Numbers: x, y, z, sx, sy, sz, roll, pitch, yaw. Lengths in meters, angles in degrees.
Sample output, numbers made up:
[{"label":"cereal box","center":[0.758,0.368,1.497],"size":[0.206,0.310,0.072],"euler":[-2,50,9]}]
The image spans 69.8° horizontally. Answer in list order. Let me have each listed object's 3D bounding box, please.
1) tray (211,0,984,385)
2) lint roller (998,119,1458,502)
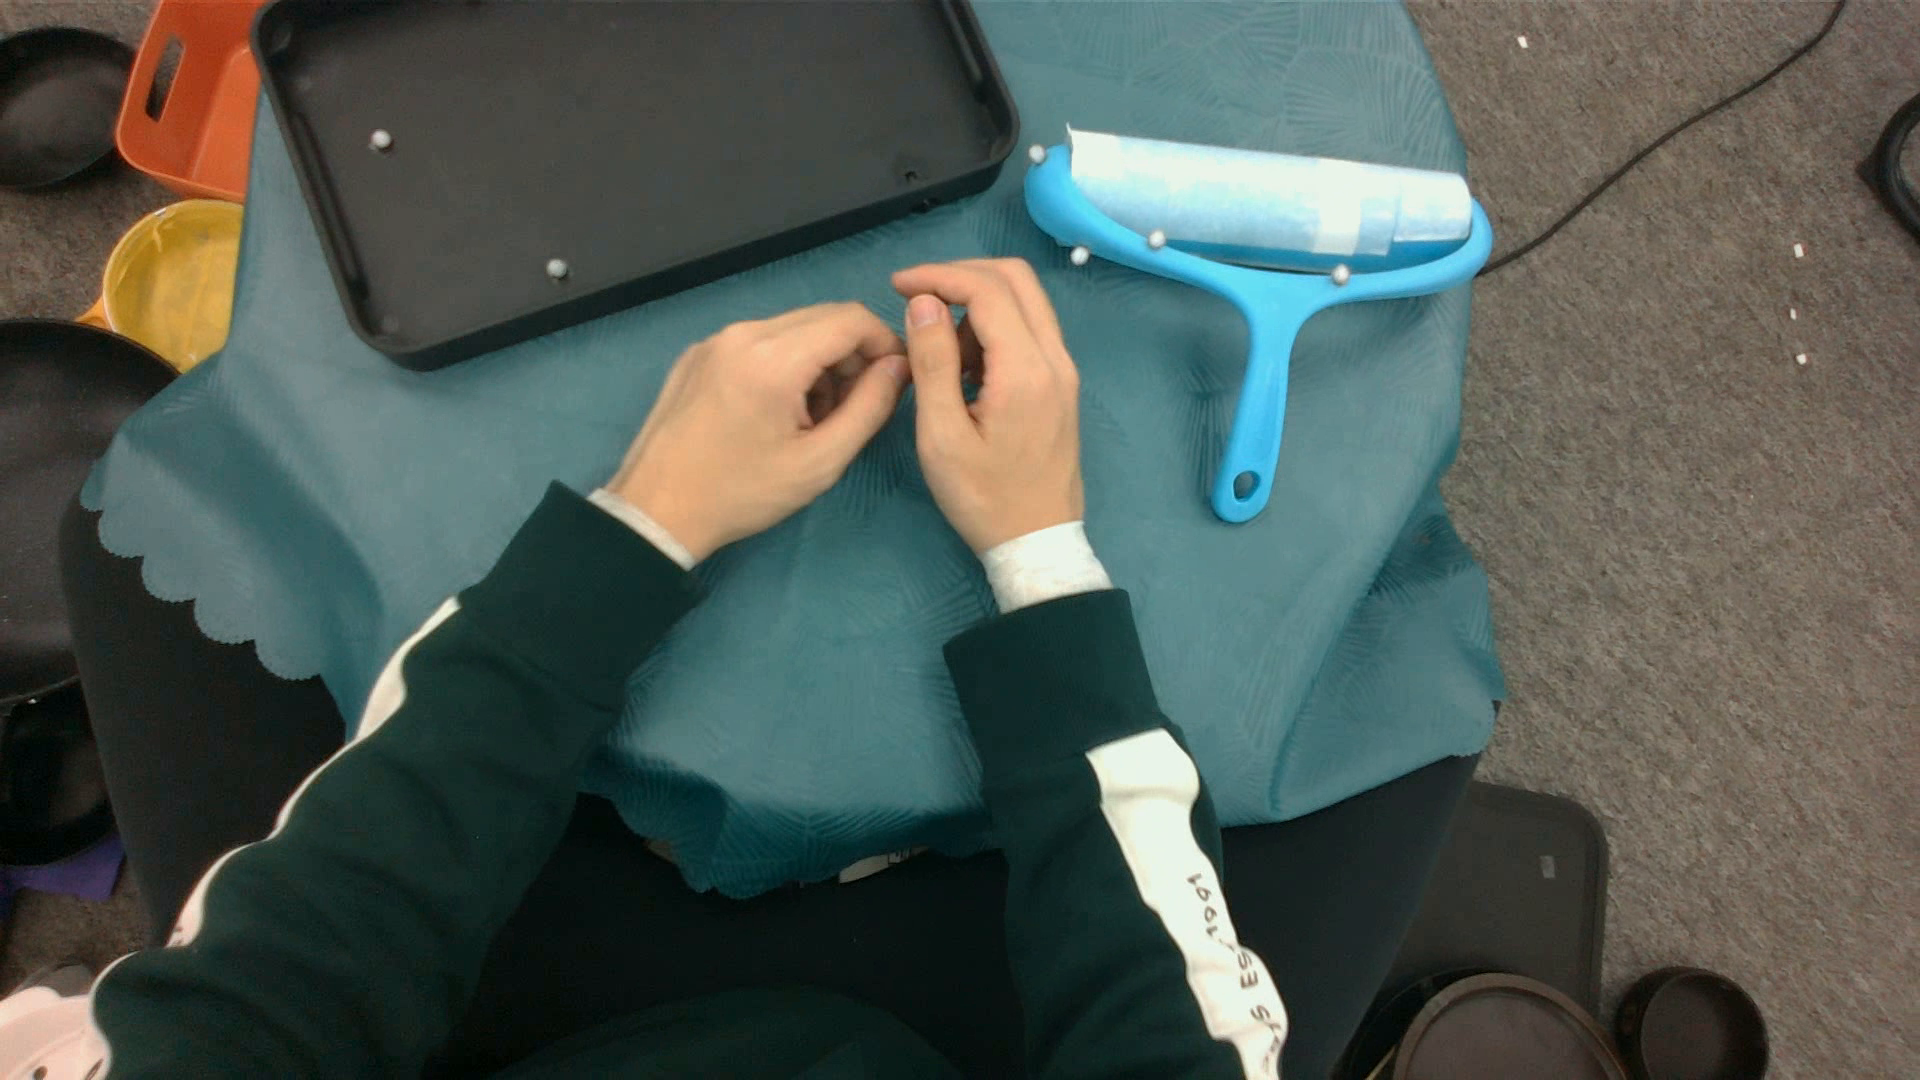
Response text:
[{"label":"tray","center":[-0.163,-0.208,0.653],"size":[0.318,0.037,0.184],"euler":[-24,83,-13]},{"label":"lint roller","center":[0.133,-0.112,0.662],"size":[0.229,0.068,0.180],"euler":[1,77,-10]}]
